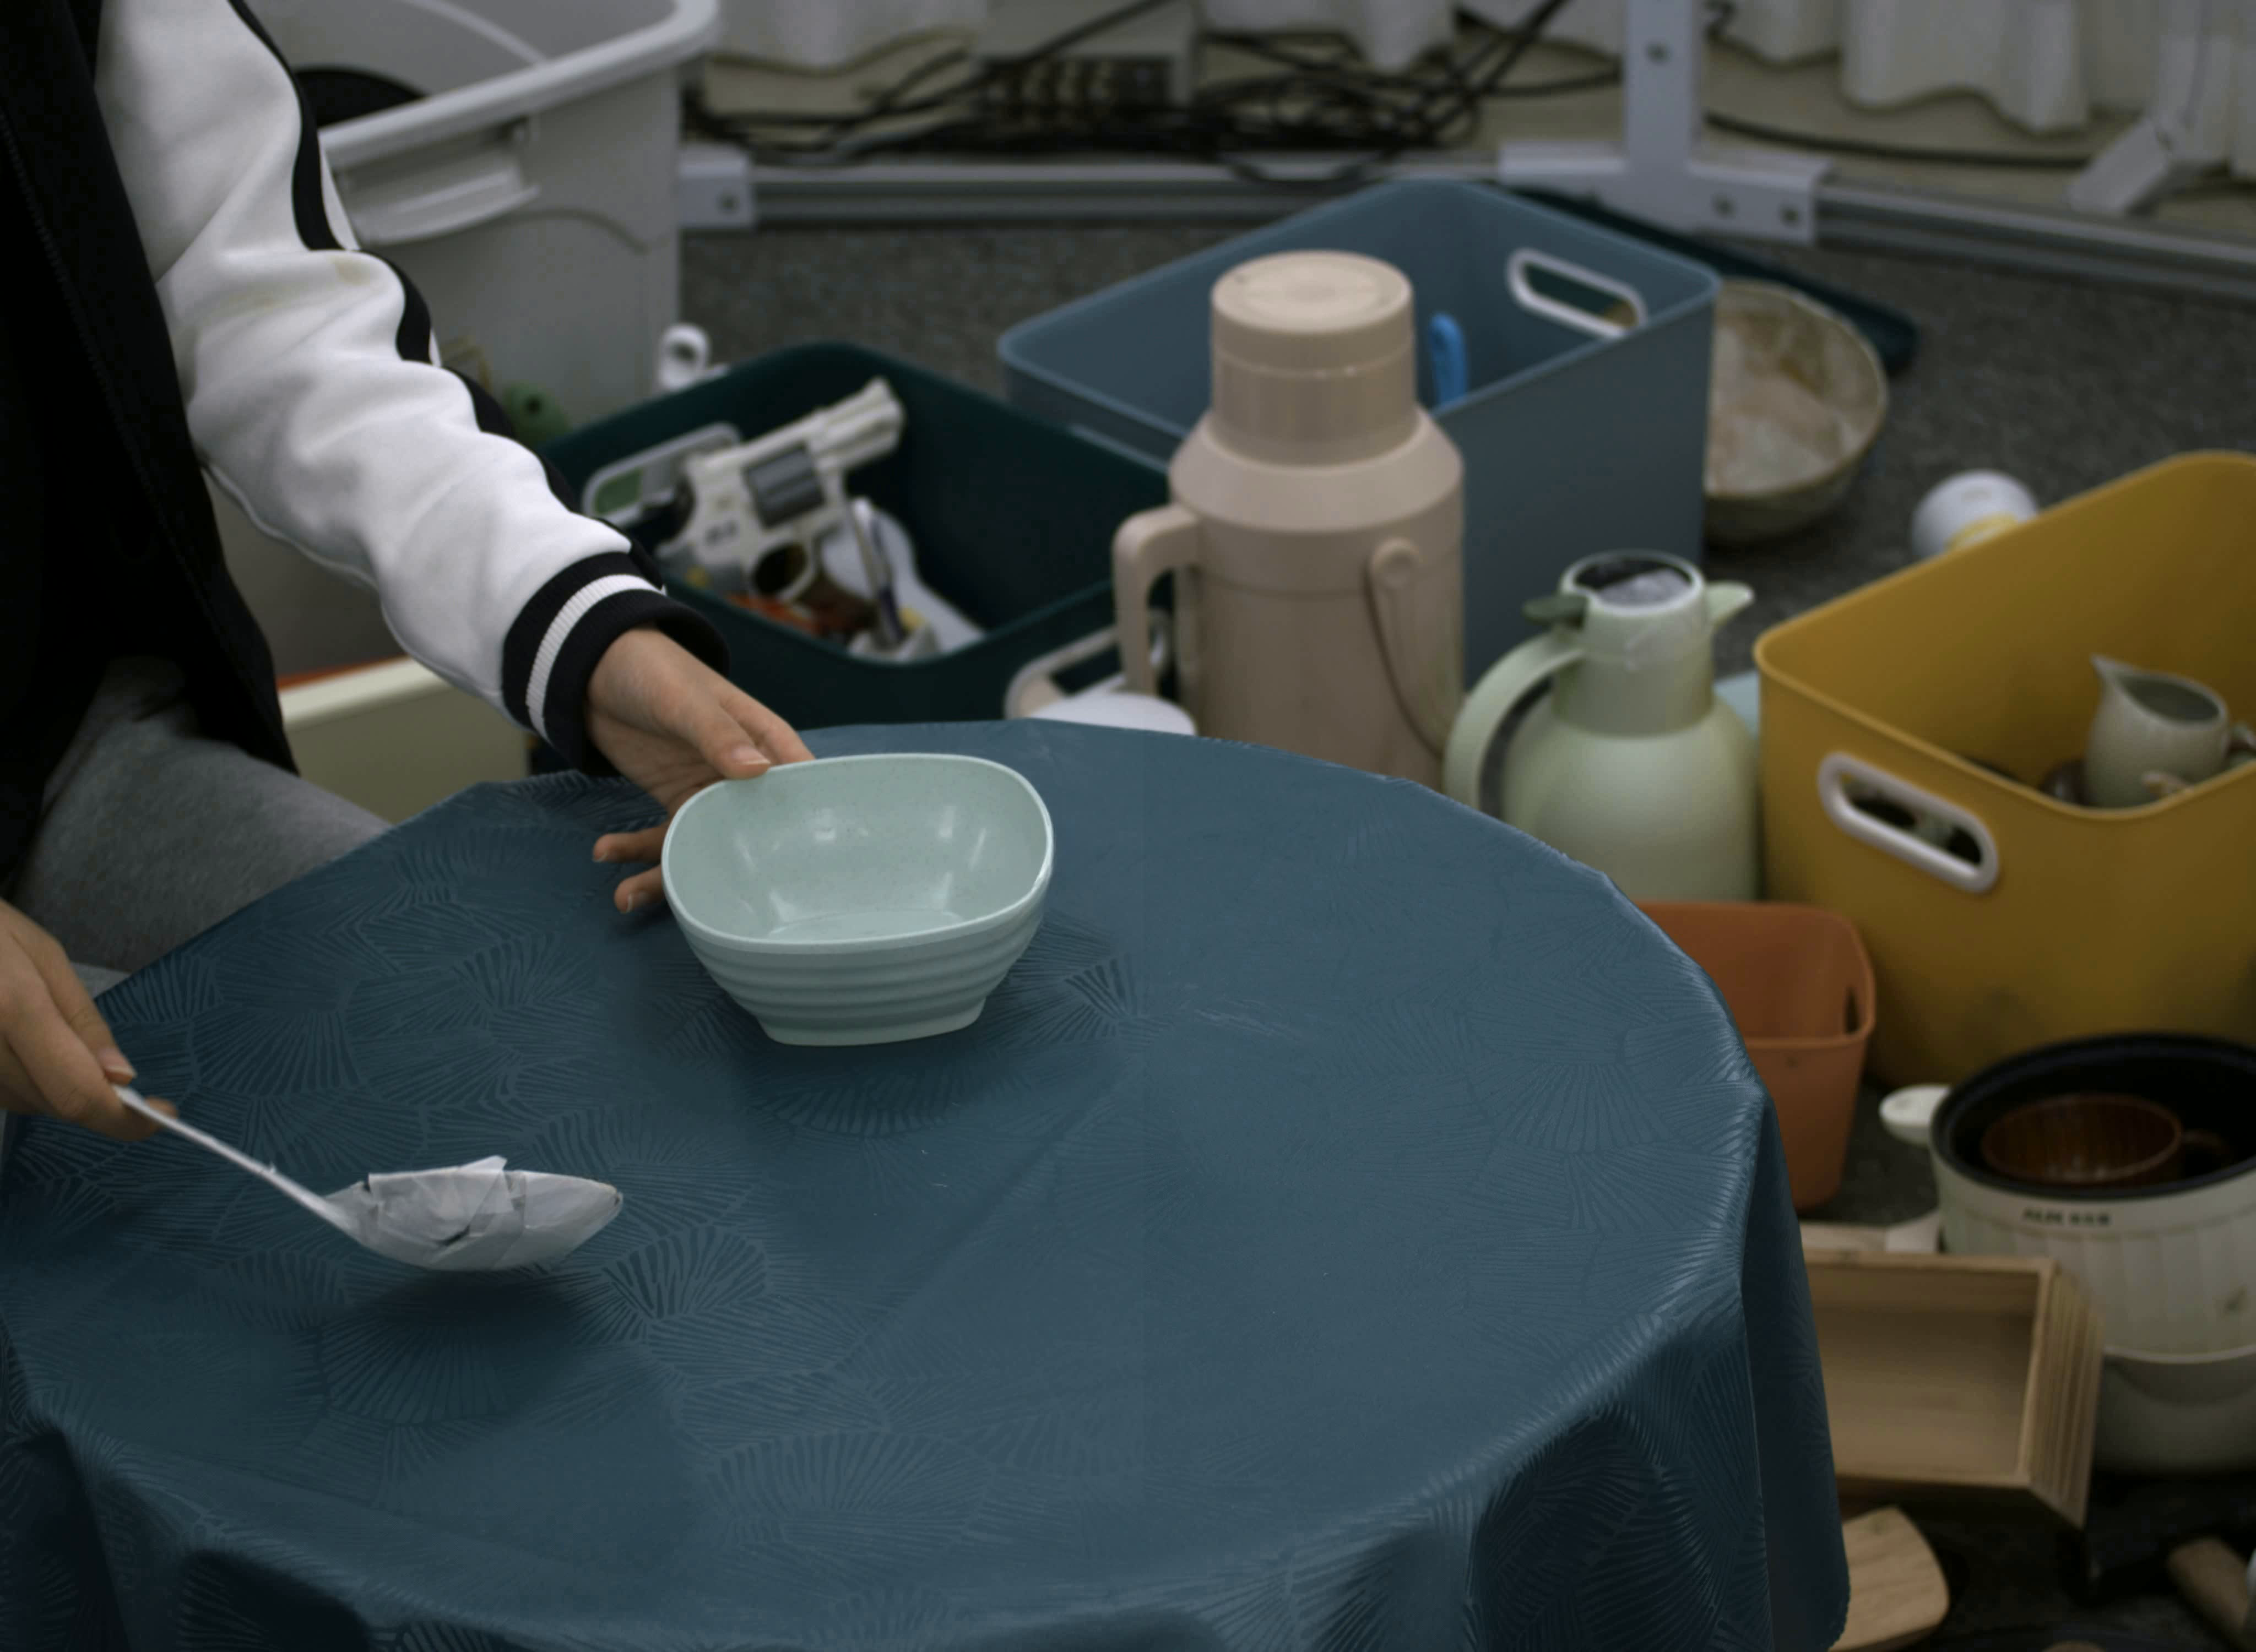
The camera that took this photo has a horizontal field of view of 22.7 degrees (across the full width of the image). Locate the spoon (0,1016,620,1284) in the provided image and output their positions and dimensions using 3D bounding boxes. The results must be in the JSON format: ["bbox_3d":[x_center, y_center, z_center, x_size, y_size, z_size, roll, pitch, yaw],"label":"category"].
[{"bbox_3d":[-0.283,0.089,1.848,0.277,0.100,0.060,25,78,33],"label":"spoon"}]

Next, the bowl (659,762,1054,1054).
[{"bbox_3d":[-0.094,0.035,1.983,0.151,0.058,0.154,-2,27,2],"label":"bowl"}]
